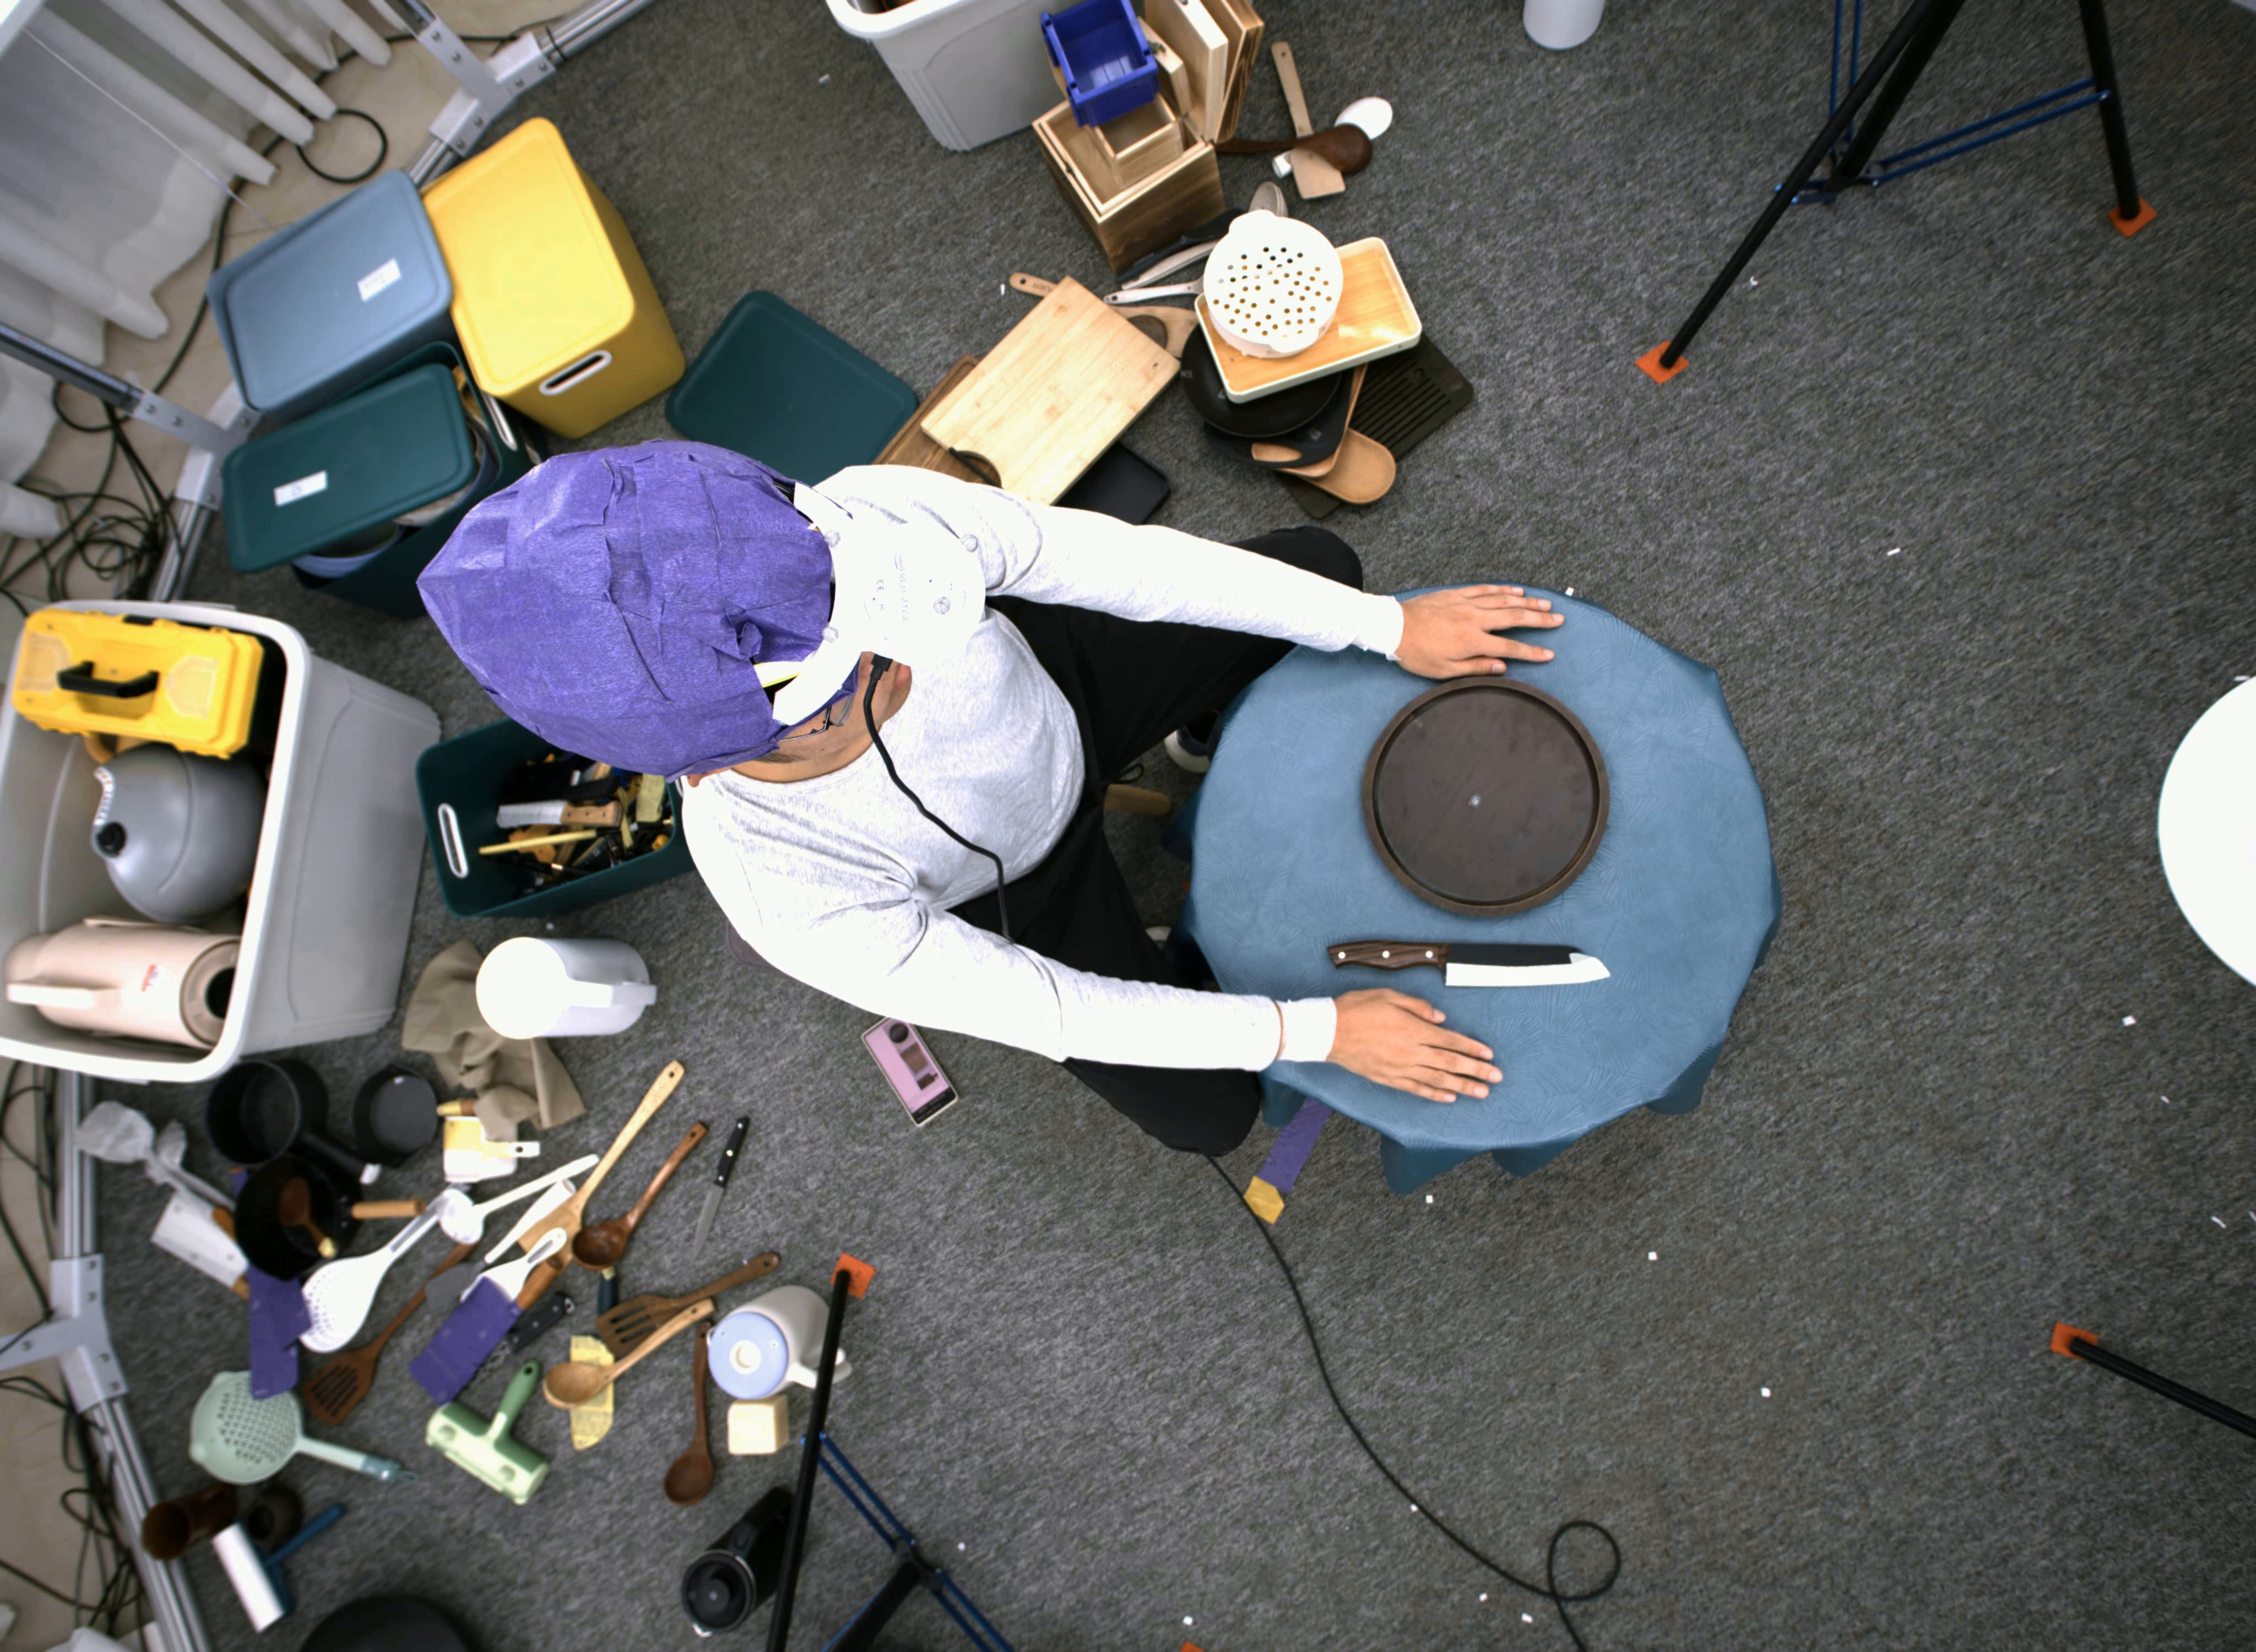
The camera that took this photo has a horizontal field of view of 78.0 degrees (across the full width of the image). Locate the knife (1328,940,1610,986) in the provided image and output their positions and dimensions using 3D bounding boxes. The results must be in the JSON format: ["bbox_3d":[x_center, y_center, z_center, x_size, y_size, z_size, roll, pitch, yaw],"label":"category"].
[{"bbox_3d":[0.353,0.139,1.433,0.290,0.020,0.050,2,92,8],"label":"knife"}]

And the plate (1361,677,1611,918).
[{"bbox_3d":[0.372,-0.032,1.434,0.256,0.029,0.254,-1,88,12],"label":"plate"}]
